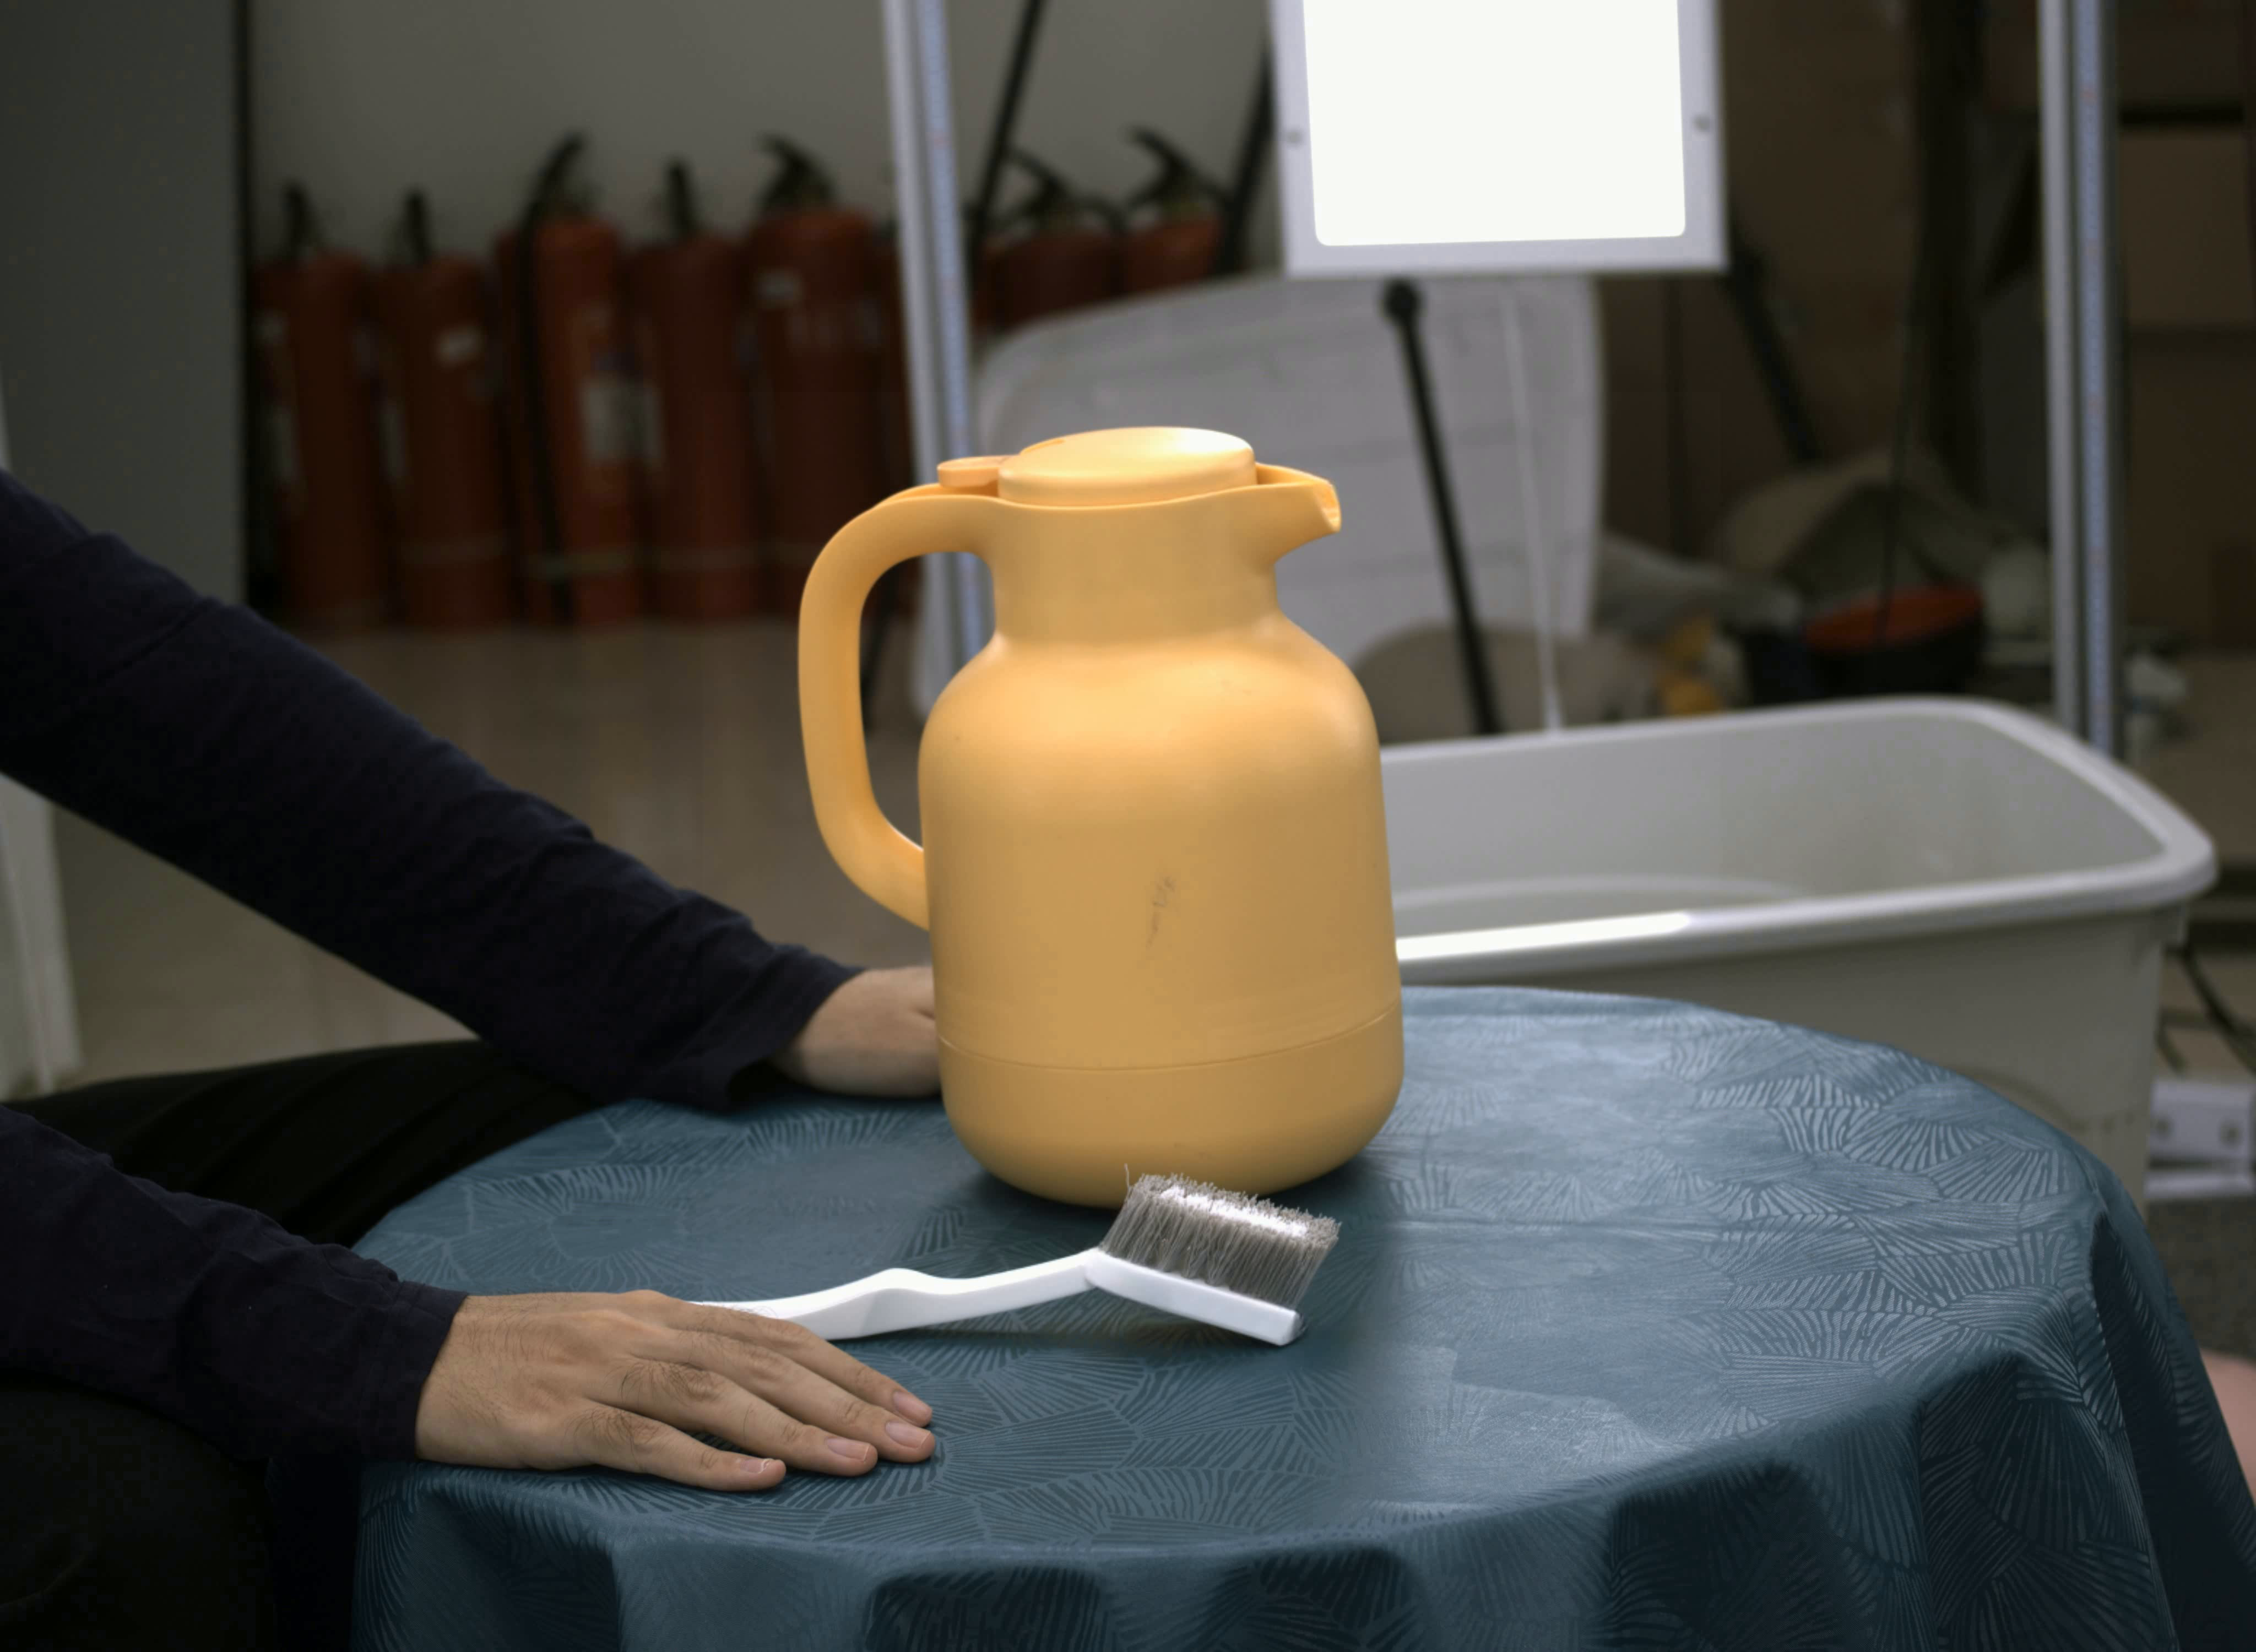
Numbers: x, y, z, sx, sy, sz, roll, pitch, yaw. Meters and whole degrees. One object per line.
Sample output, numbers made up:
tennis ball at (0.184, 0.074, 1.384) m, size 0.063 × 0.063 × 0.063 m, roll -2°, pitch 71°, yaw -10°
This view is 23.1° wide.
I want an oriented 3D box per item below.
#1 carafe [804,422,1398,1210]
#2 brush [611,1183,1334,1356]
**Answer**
carafe at (-0.010, -0.007, 1.901) m, size 0.205 × 0.261 × 0.161 m, roll 1°, pitch 12°, yaw 19°
brush at (-0.053, 0.139, 1.764) m, size 0.246 × 0.050 × 0.034 m, roll 0°, pitch 19°, yaw 19°
